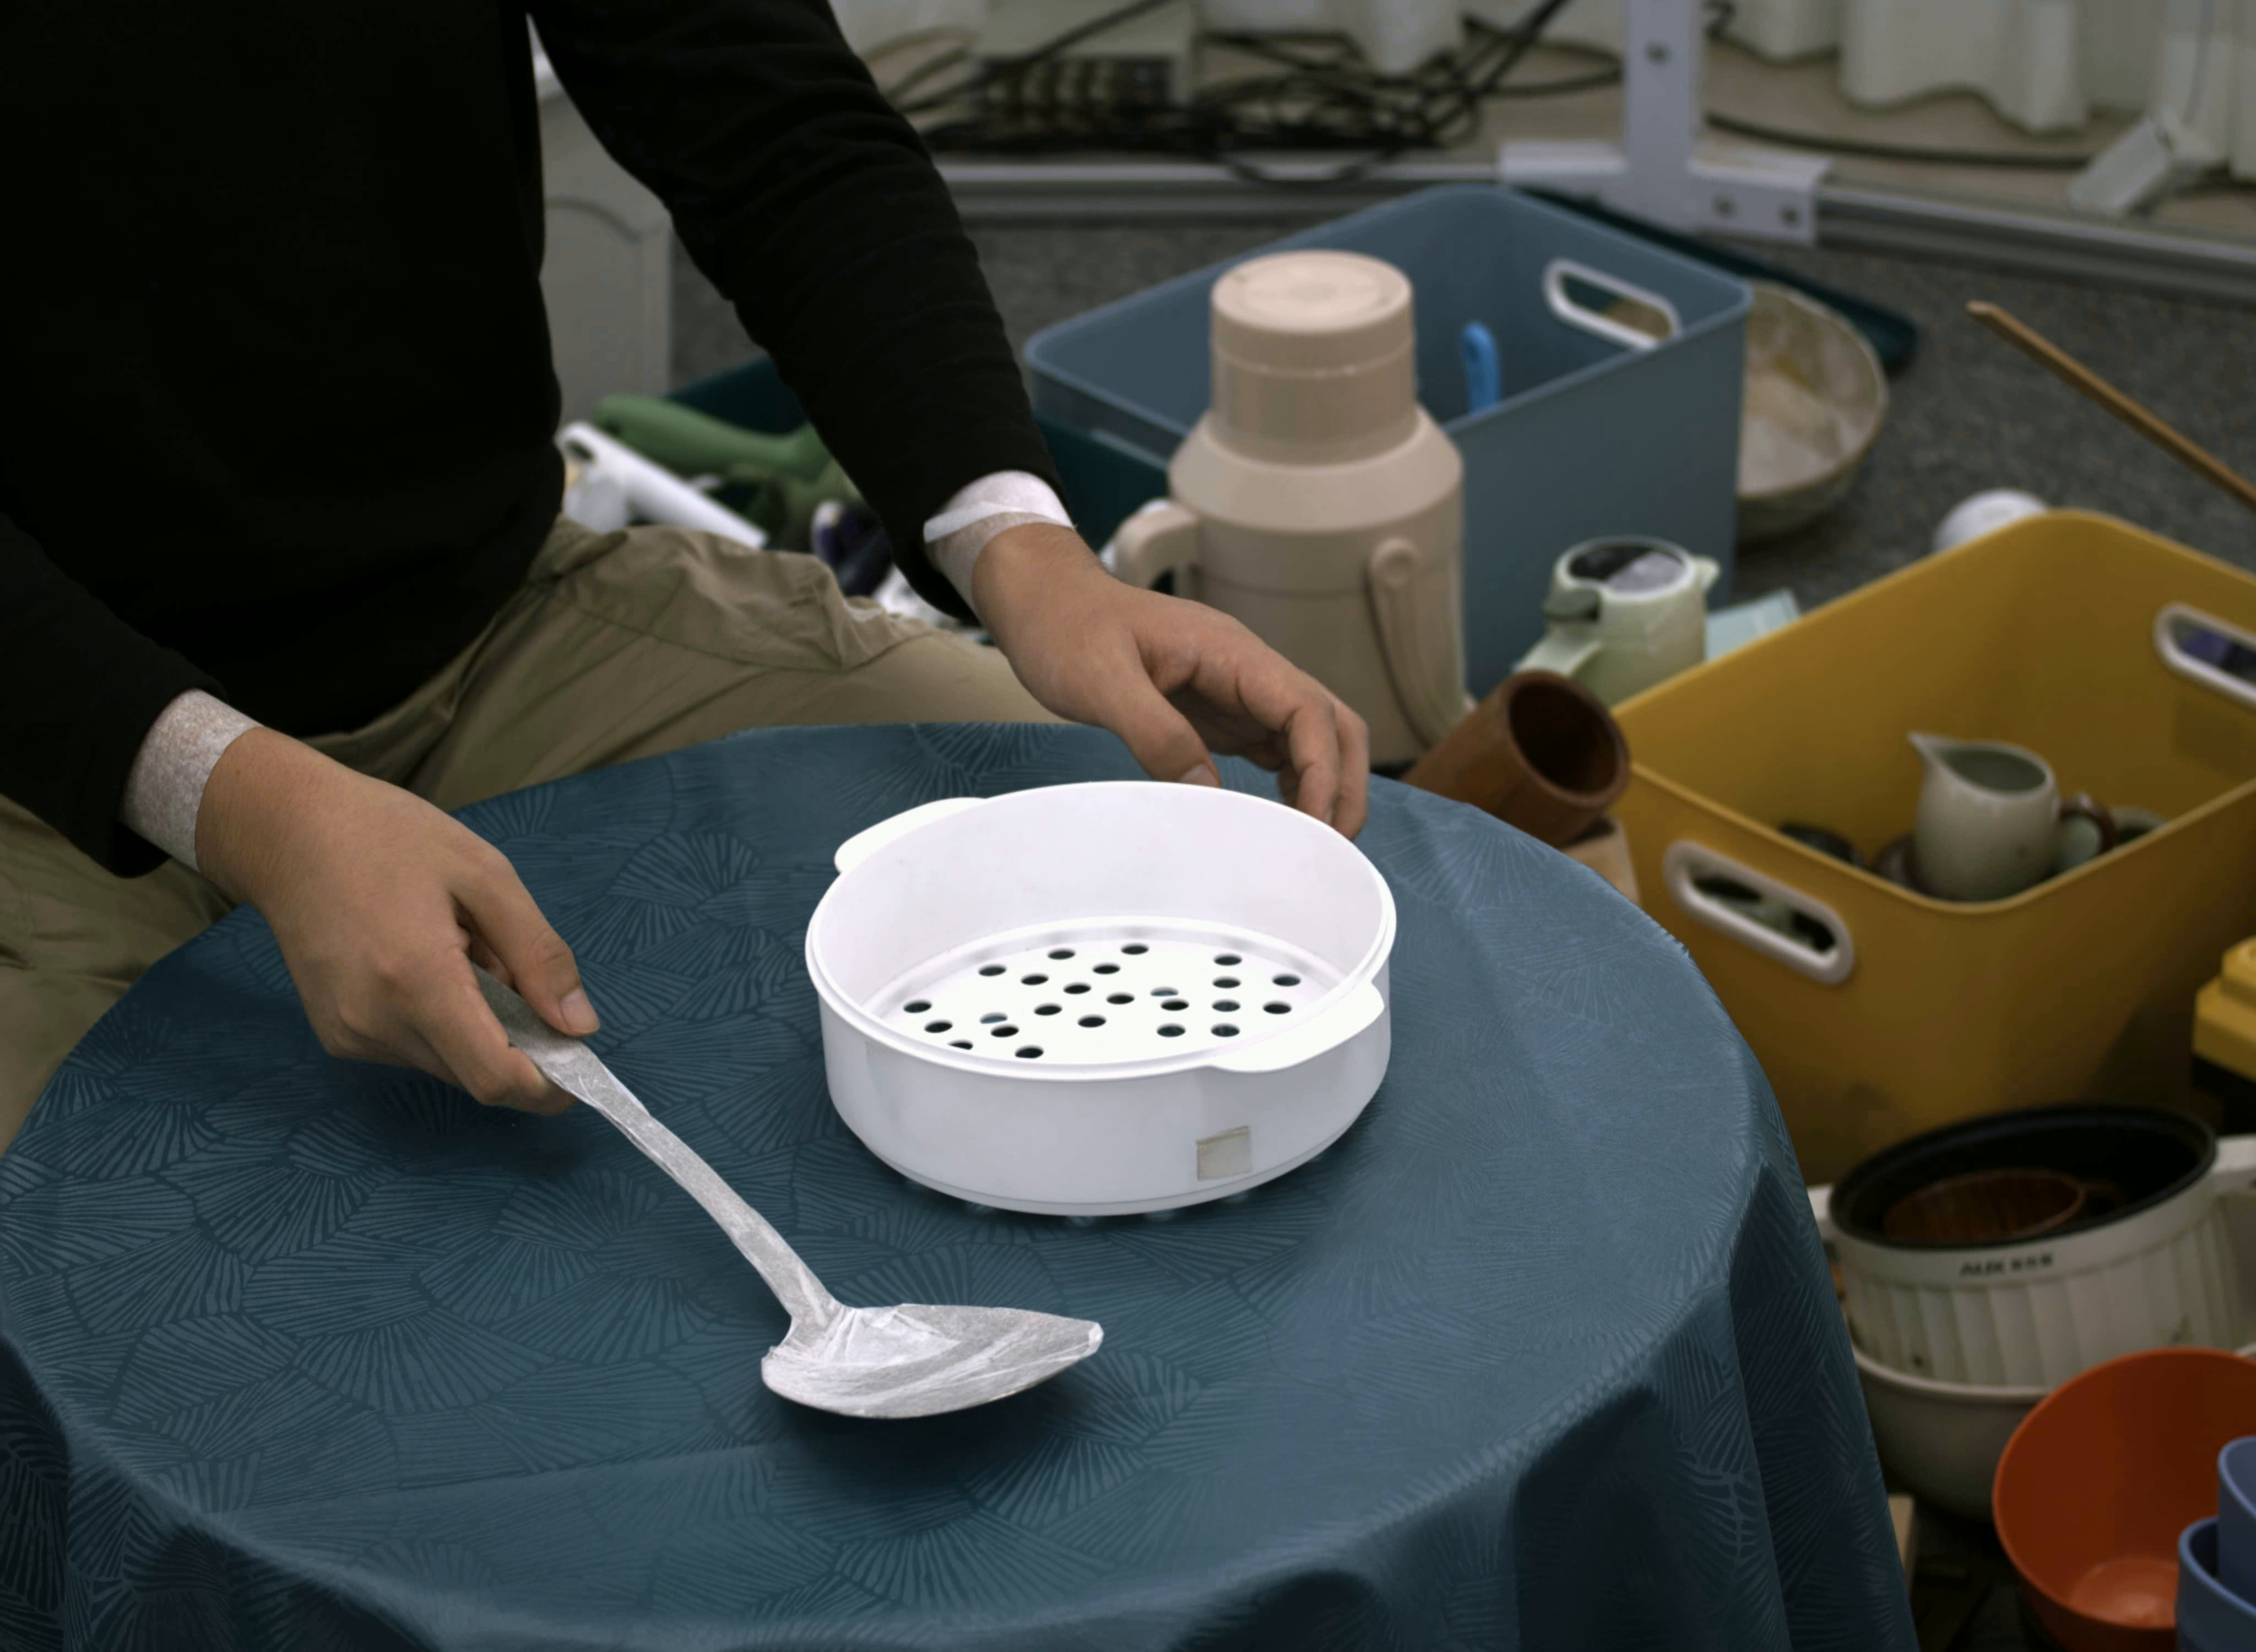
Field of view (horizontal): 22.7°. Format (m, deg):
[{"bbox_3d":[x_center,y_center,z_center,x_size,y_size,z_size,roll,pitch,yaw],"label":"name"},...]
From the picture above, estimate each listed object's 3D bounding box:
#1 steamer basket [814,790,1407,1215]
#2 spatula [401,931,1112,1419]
[{"bbox_3d":[-0.005,0.060,1.905,0.204,0.068,0.230,-23,32,-35],"label":"steamer basket"},{"bbox_3d":[-0.144,0.106,1.836,0.099,0.044,0.366,-17,38,-34],"label":"spatula"}]
